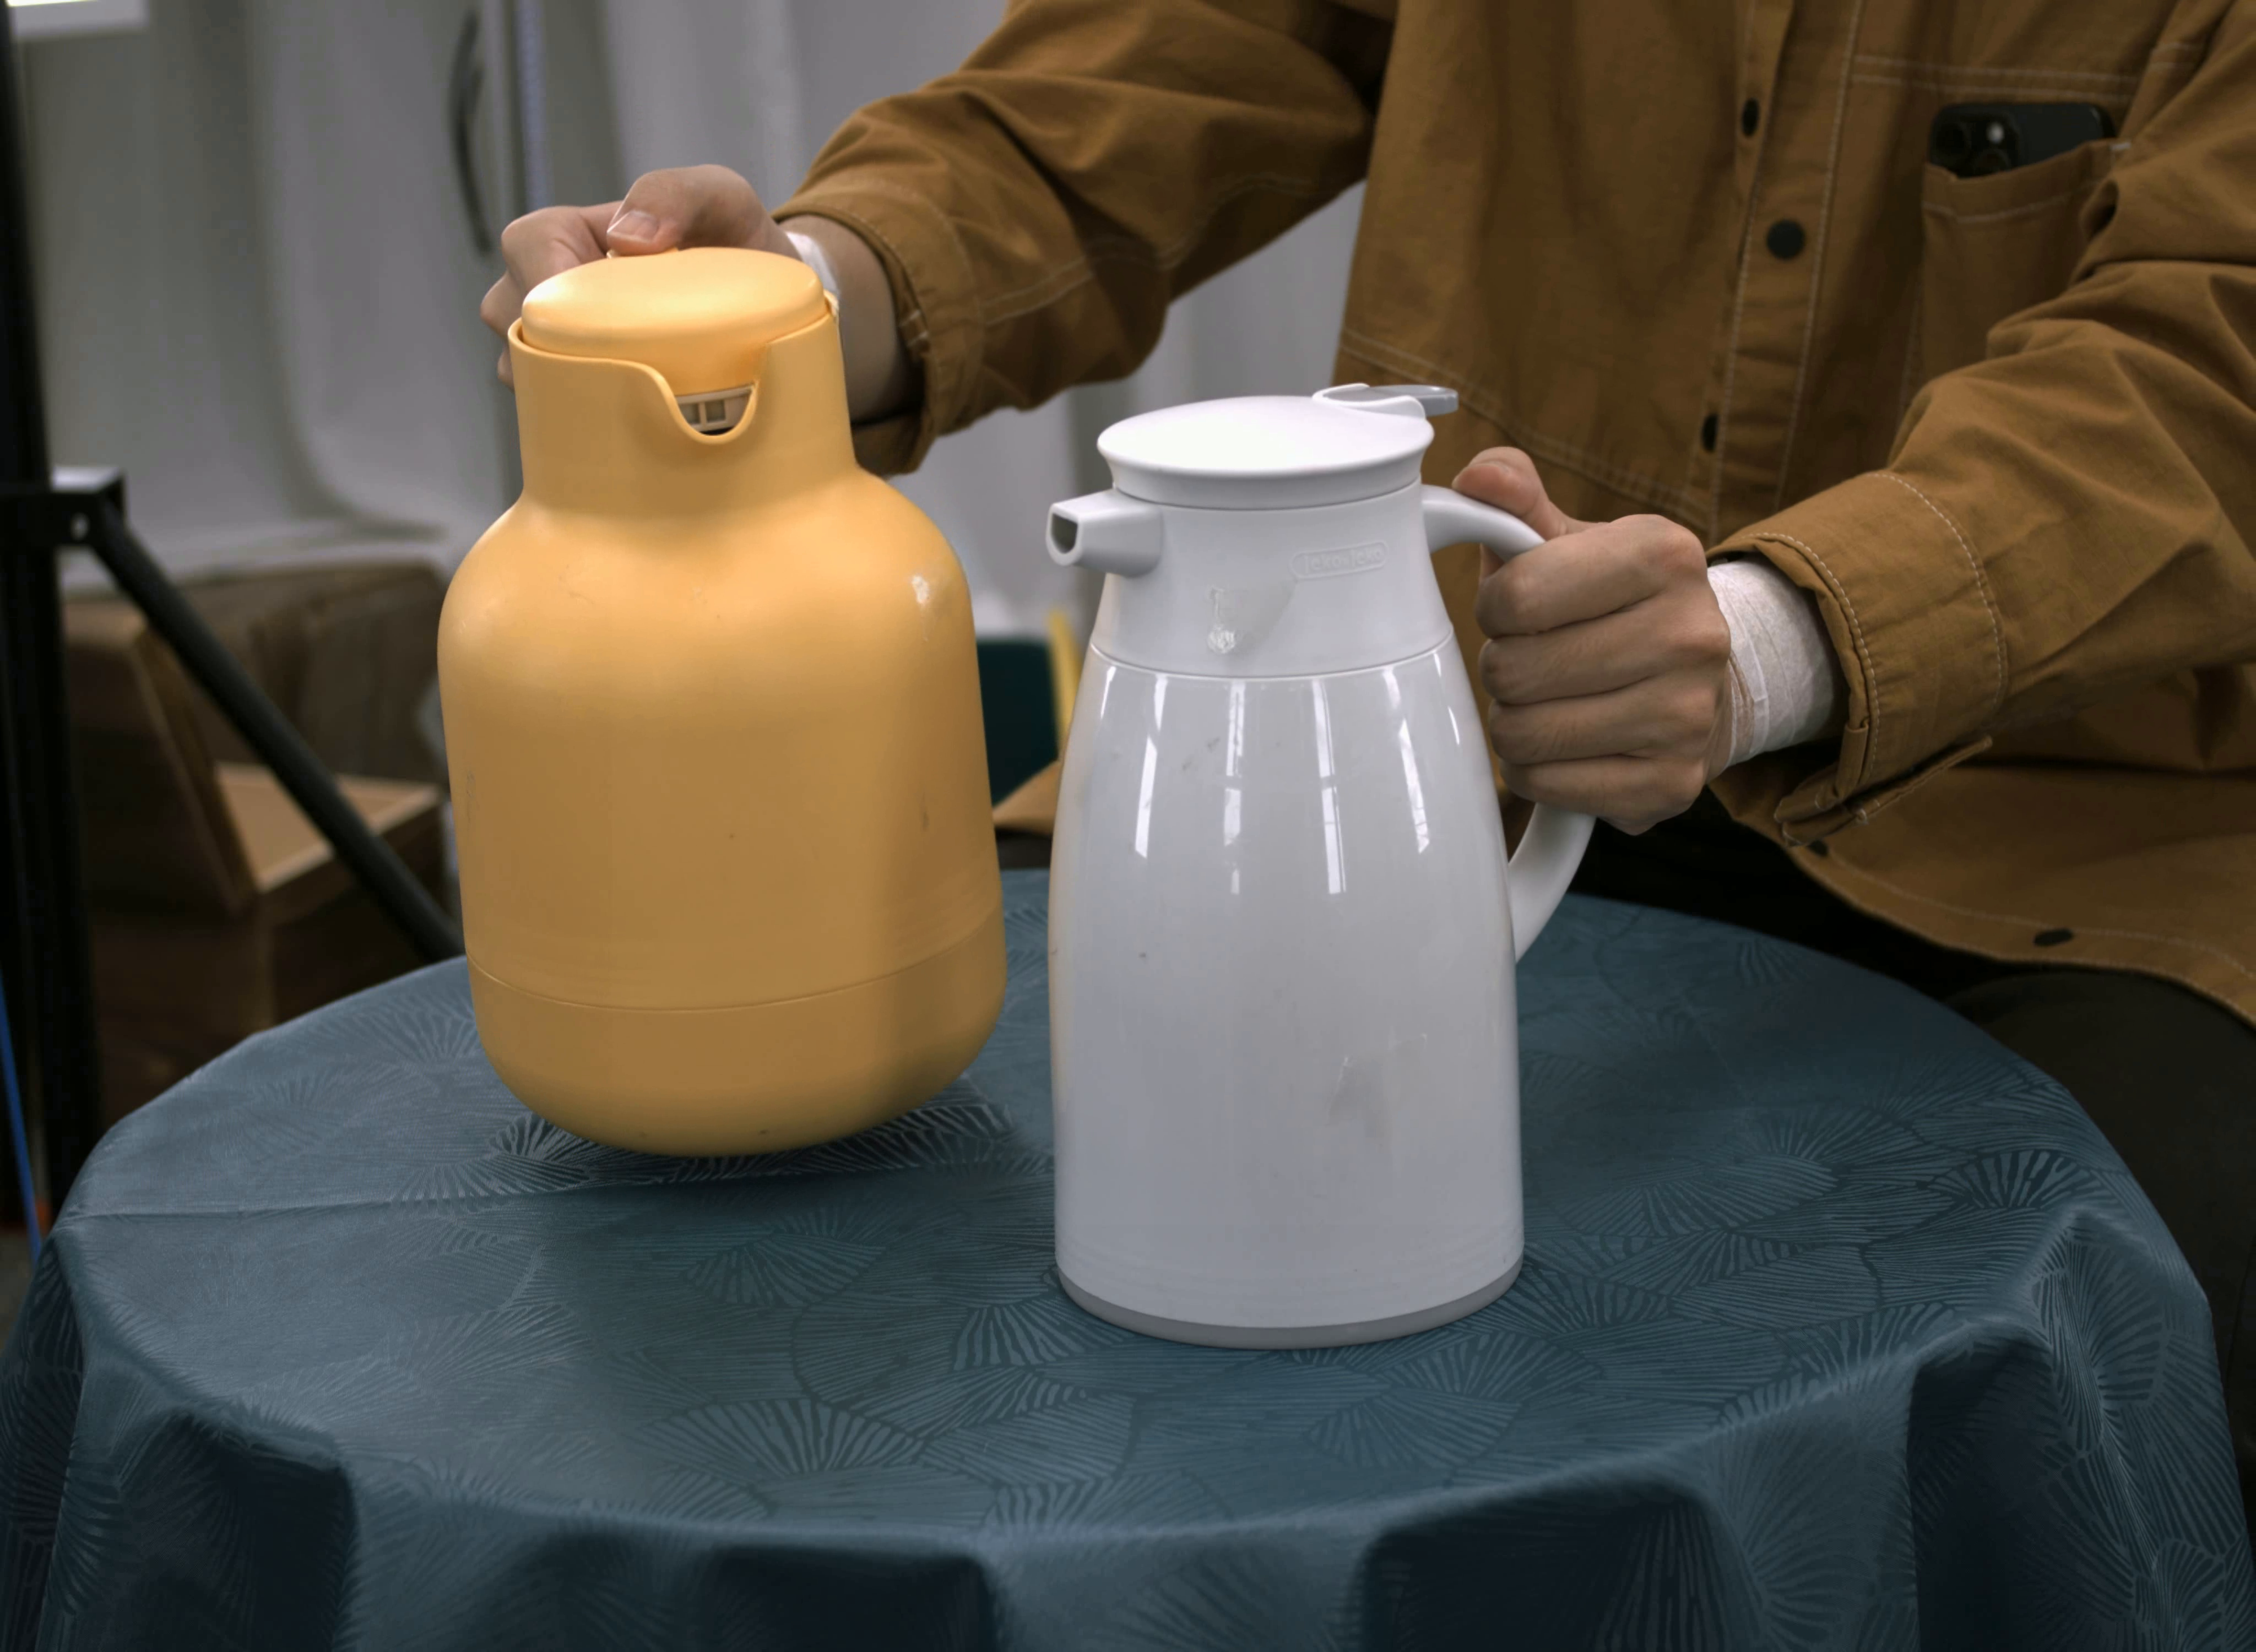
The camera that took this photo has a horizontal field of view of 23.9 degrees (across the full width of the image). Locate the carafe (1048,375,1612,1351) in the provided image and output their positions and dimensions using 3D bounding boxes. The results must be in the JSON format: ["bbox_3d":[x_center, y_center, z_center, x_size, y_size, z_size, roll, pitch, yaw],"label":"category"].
[{"bbox_3d":[0.058,0.002,1.467,0.164,0.248,0.135,-9,16,-25],"label":"carafe"}]

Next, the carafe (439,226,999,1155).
[{"bbox_3d":[-0.126,-0.049,1.611,0.161,0.260,0.205,-5,20,-8],"label":"carafe"}]
